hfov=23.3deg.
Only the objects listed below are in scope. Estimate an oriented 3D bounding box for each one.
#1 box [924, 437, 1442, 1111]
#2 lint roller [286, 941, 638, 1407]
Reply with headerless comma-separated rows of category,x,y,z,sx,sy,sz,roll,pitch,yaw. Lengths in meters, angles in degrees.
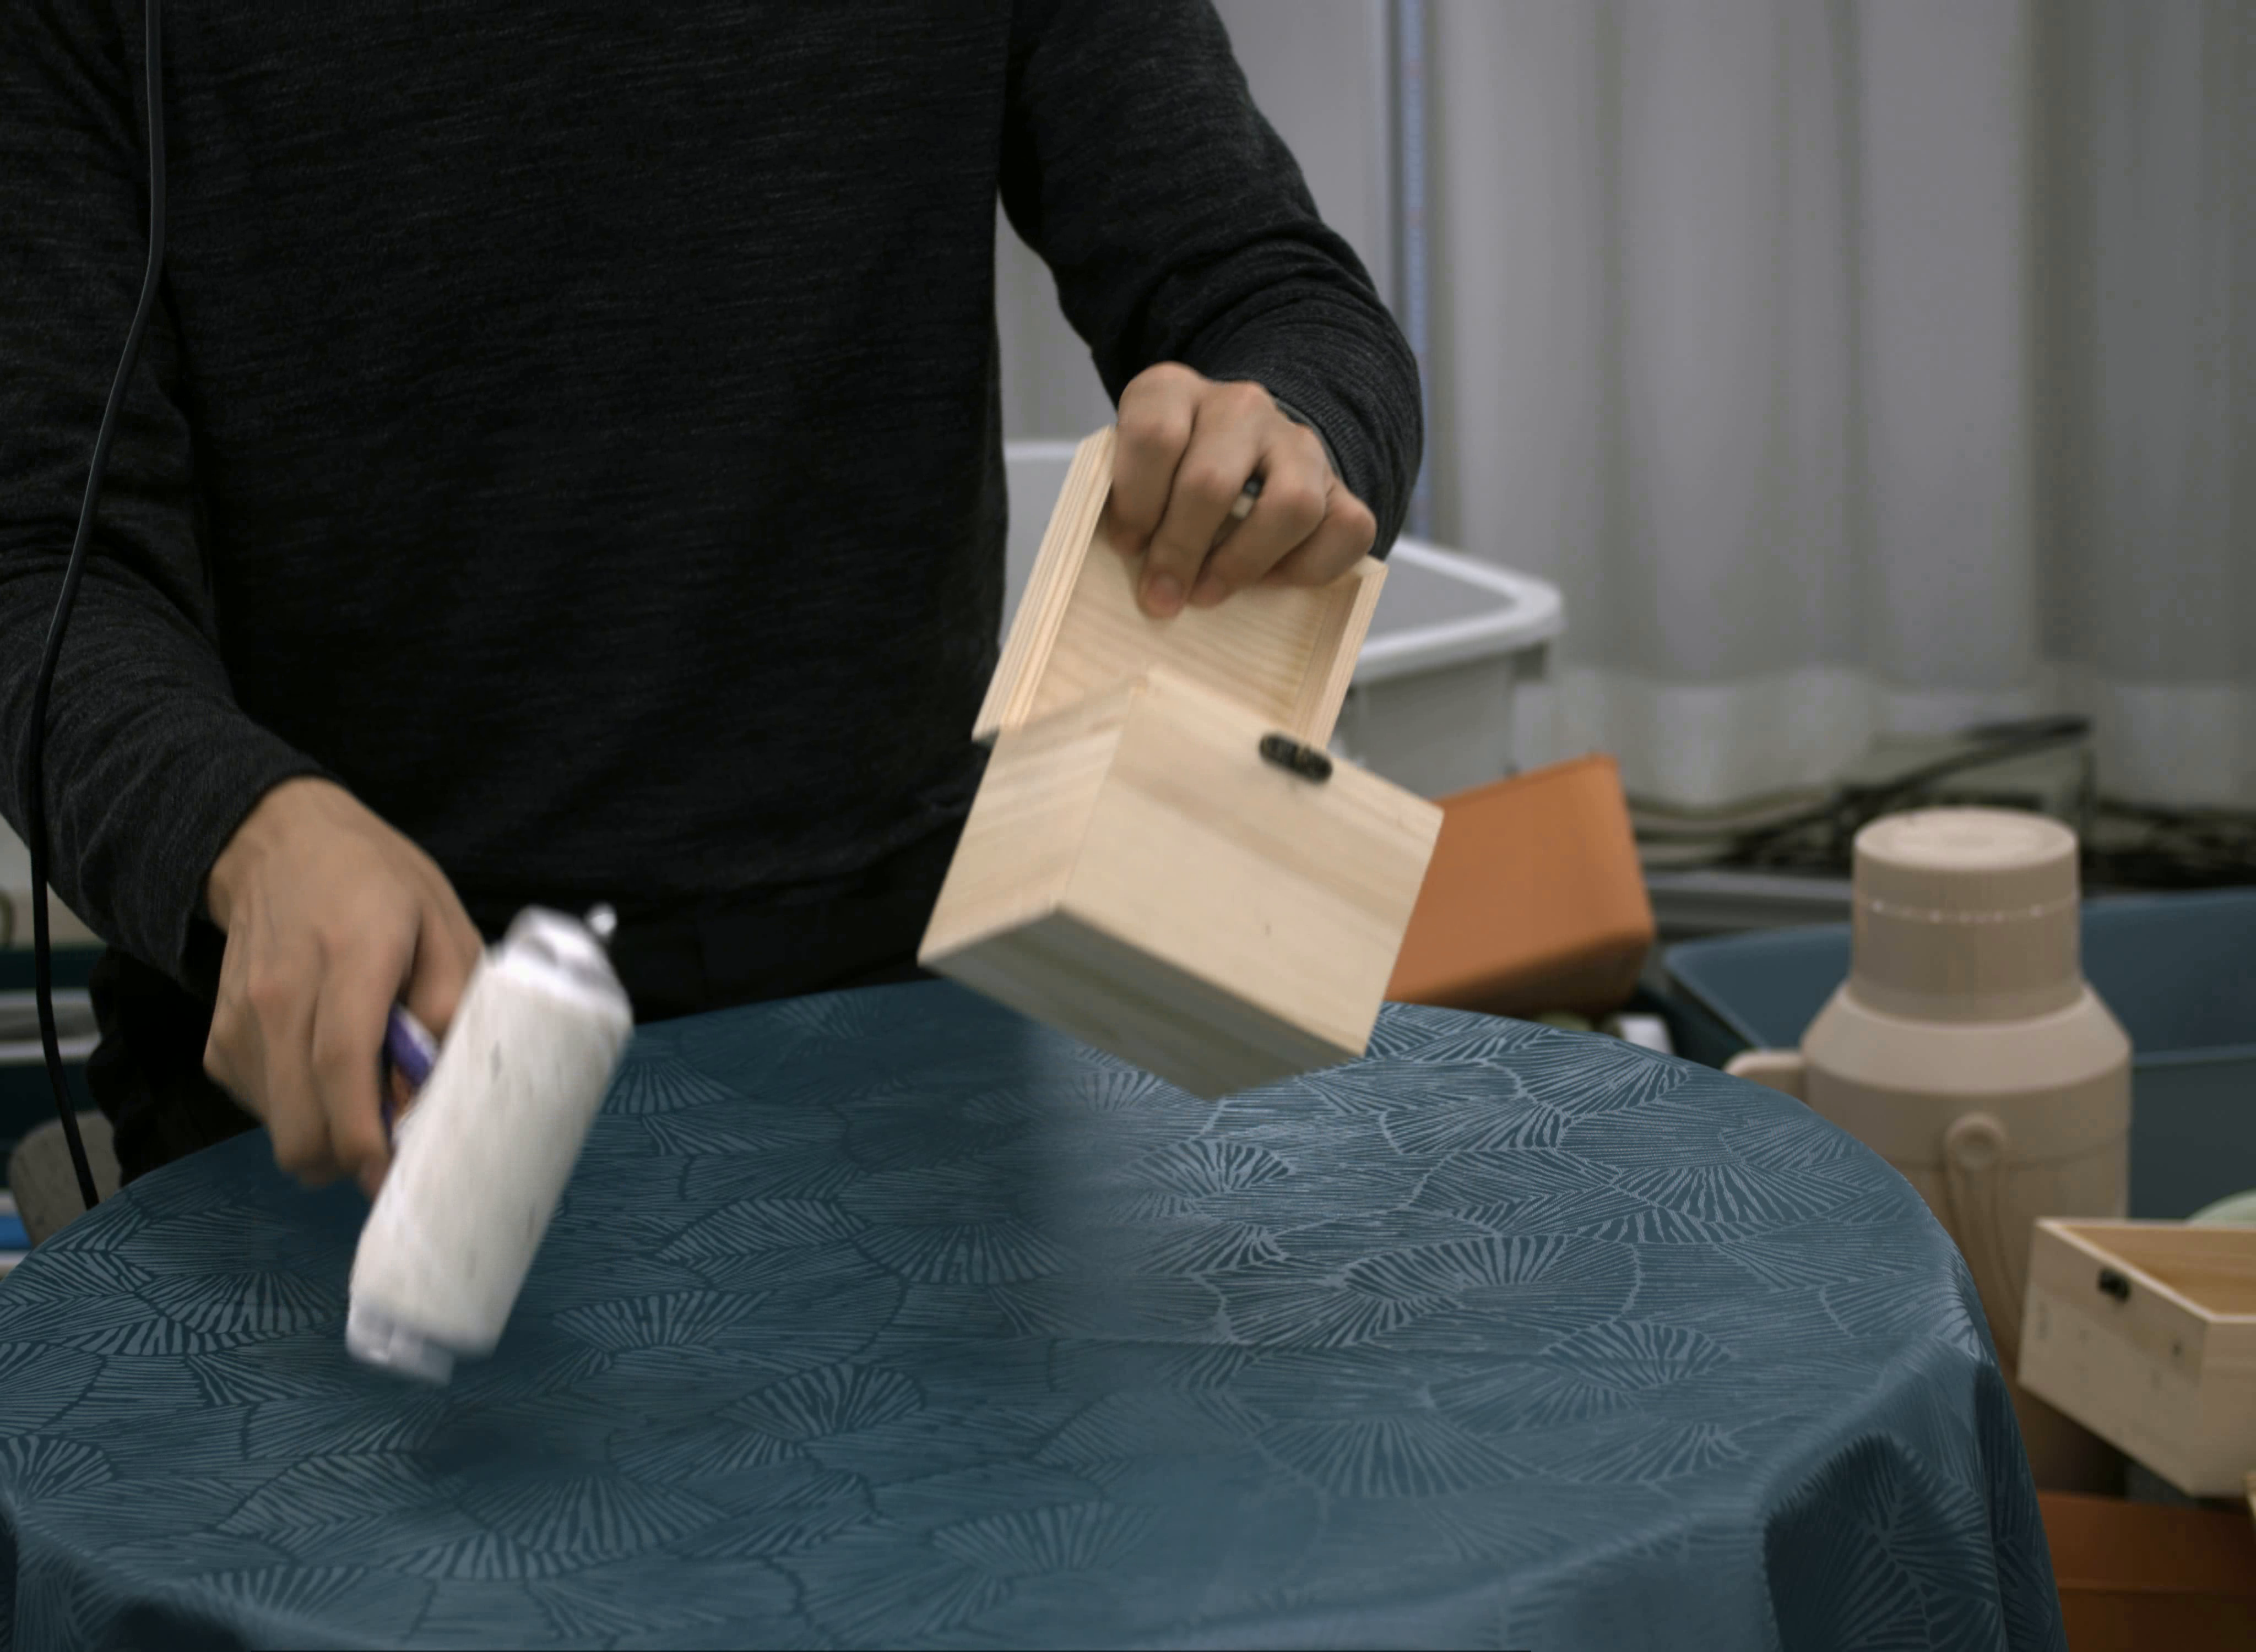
box,0.027,-0.025,1.591,0.102,0.186,0.133,26,-21,-18
lint roller,-0.211,0.079,1.567,0.049,0.133,0.182,25,1,-37
